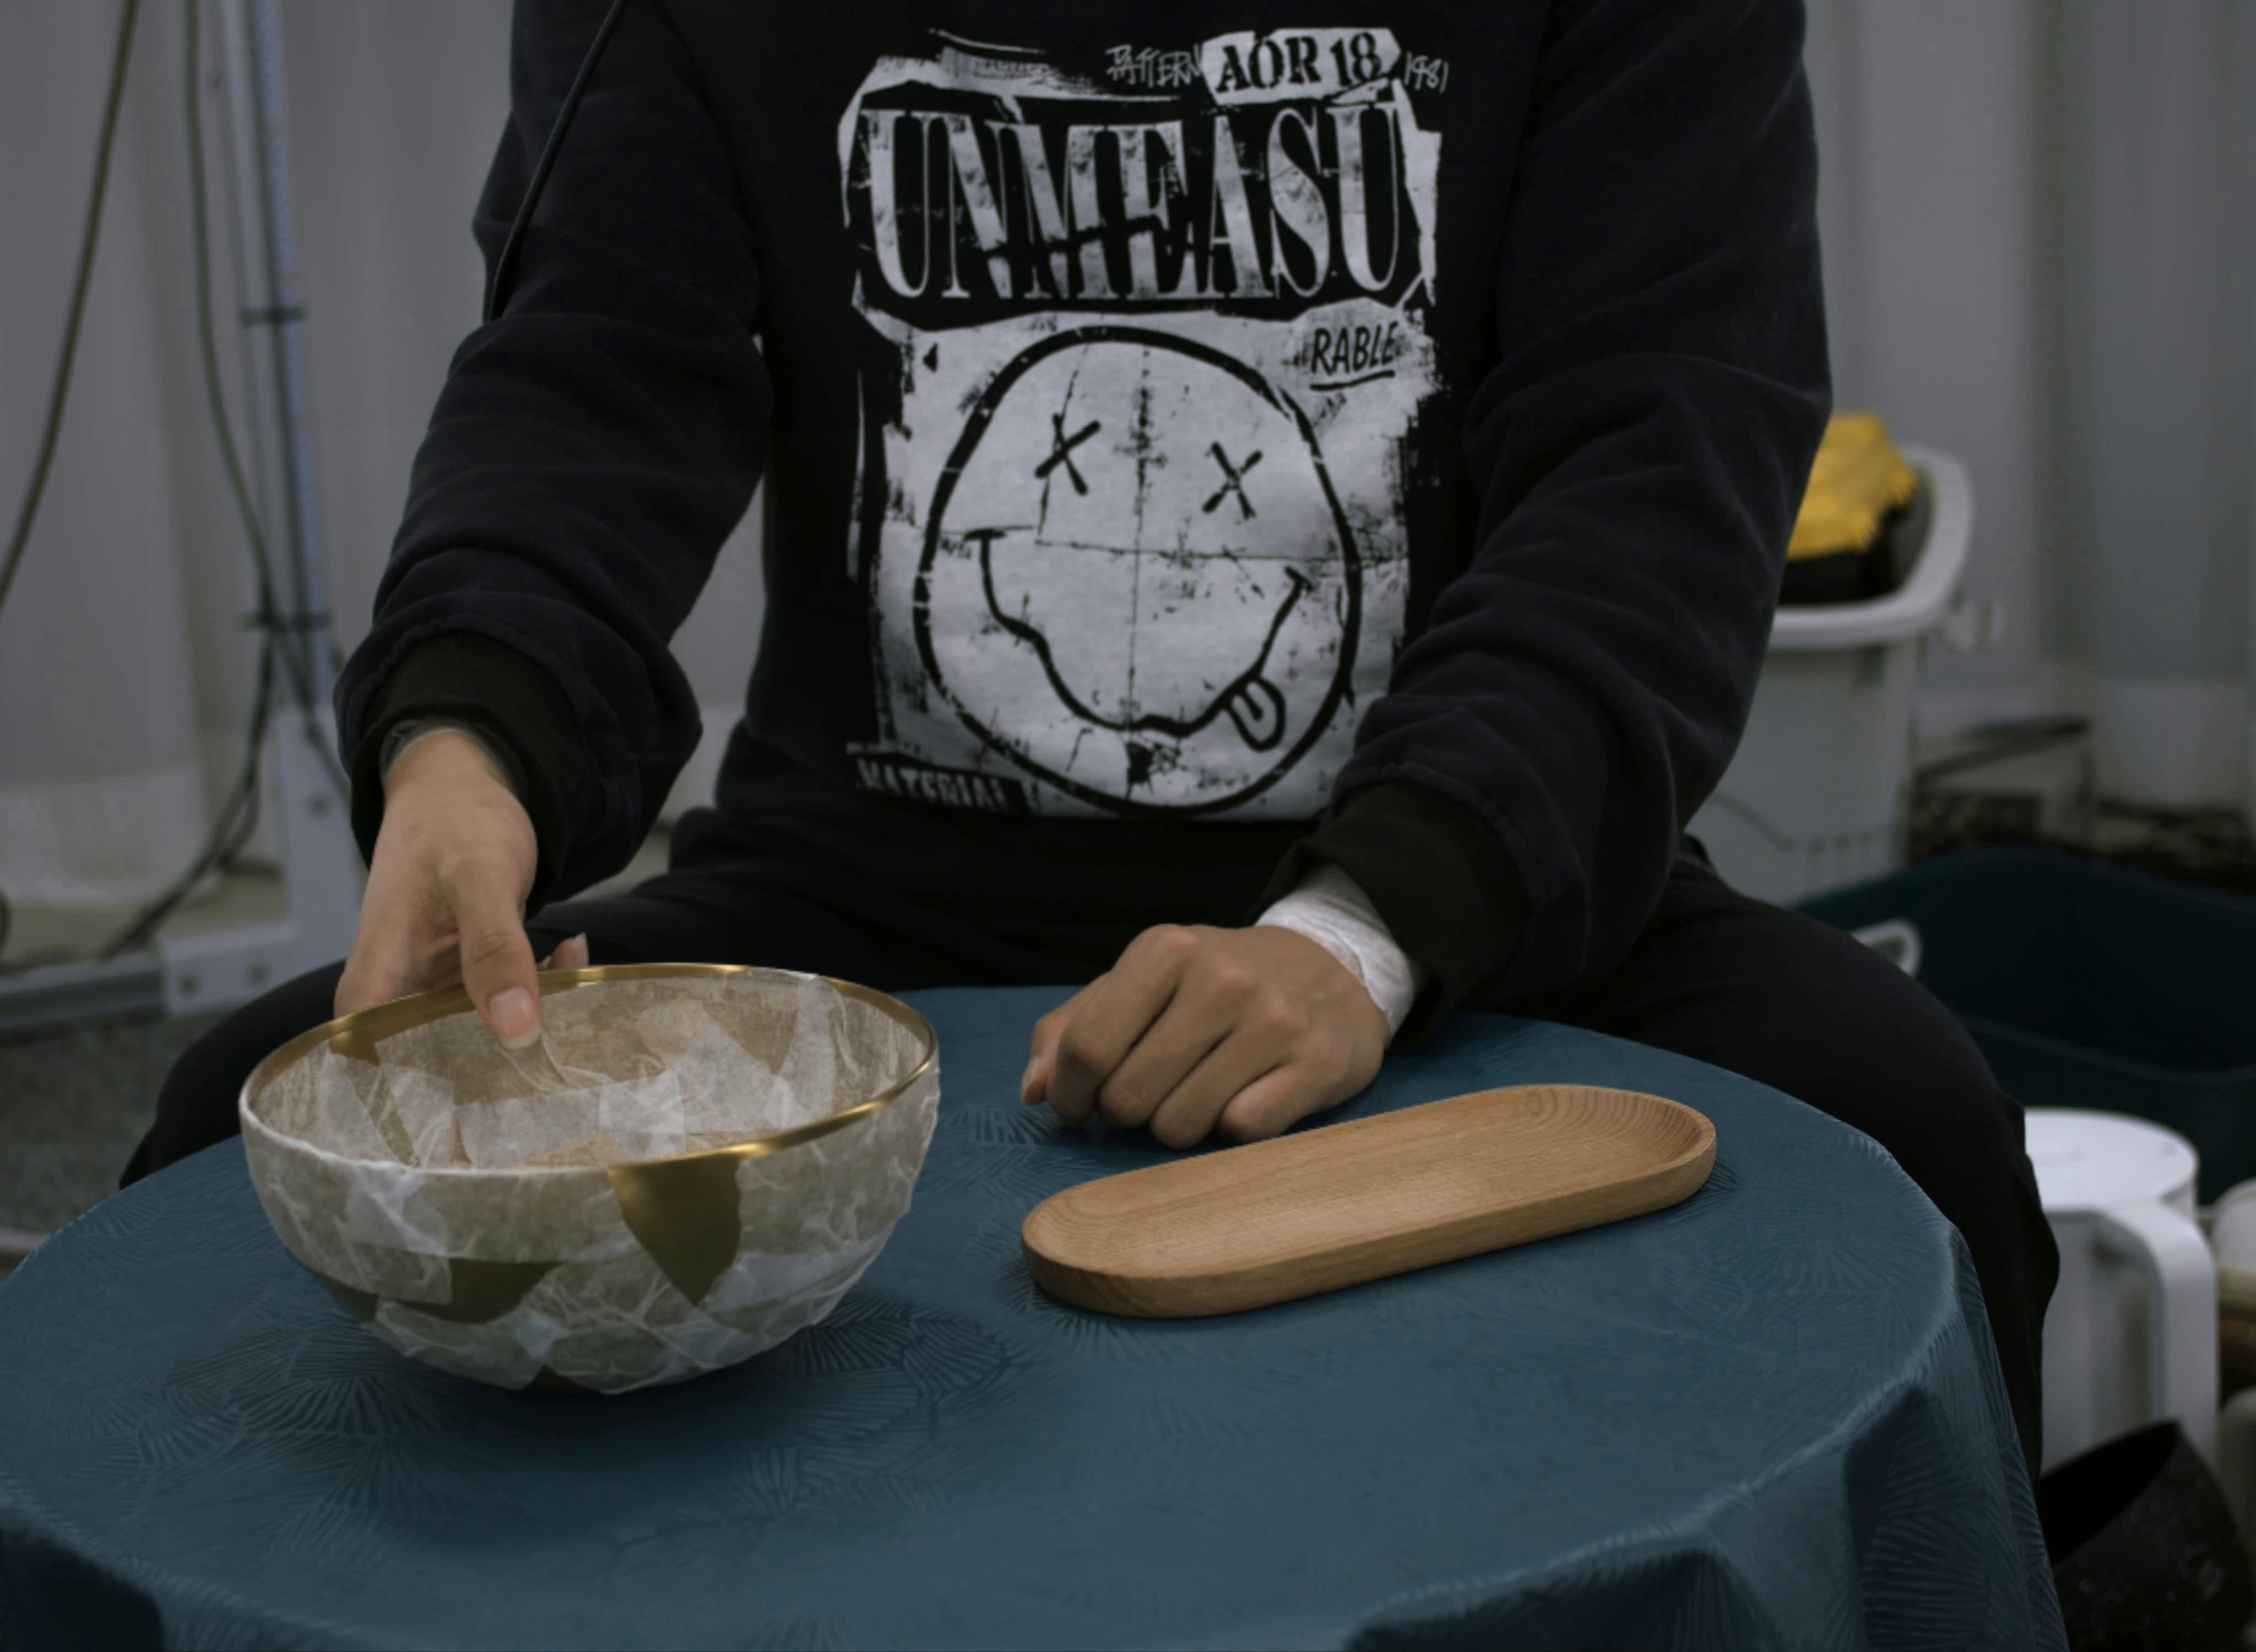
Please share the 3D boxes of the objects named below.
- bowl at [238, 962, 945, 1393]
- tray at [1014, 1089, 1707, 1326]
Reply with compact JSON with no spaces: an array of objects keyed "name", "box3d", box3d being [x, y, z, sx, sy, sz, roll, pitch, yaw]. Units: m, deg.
[{"name":"bowl","box3d":[-0.149,0.109,1.585,0.214,0.094,0.216,-4,14,1]},{"name":"tray","box3d":[0.073,0.116,1.668,0.230,0.020,0.102,-13,16,-28]}]
